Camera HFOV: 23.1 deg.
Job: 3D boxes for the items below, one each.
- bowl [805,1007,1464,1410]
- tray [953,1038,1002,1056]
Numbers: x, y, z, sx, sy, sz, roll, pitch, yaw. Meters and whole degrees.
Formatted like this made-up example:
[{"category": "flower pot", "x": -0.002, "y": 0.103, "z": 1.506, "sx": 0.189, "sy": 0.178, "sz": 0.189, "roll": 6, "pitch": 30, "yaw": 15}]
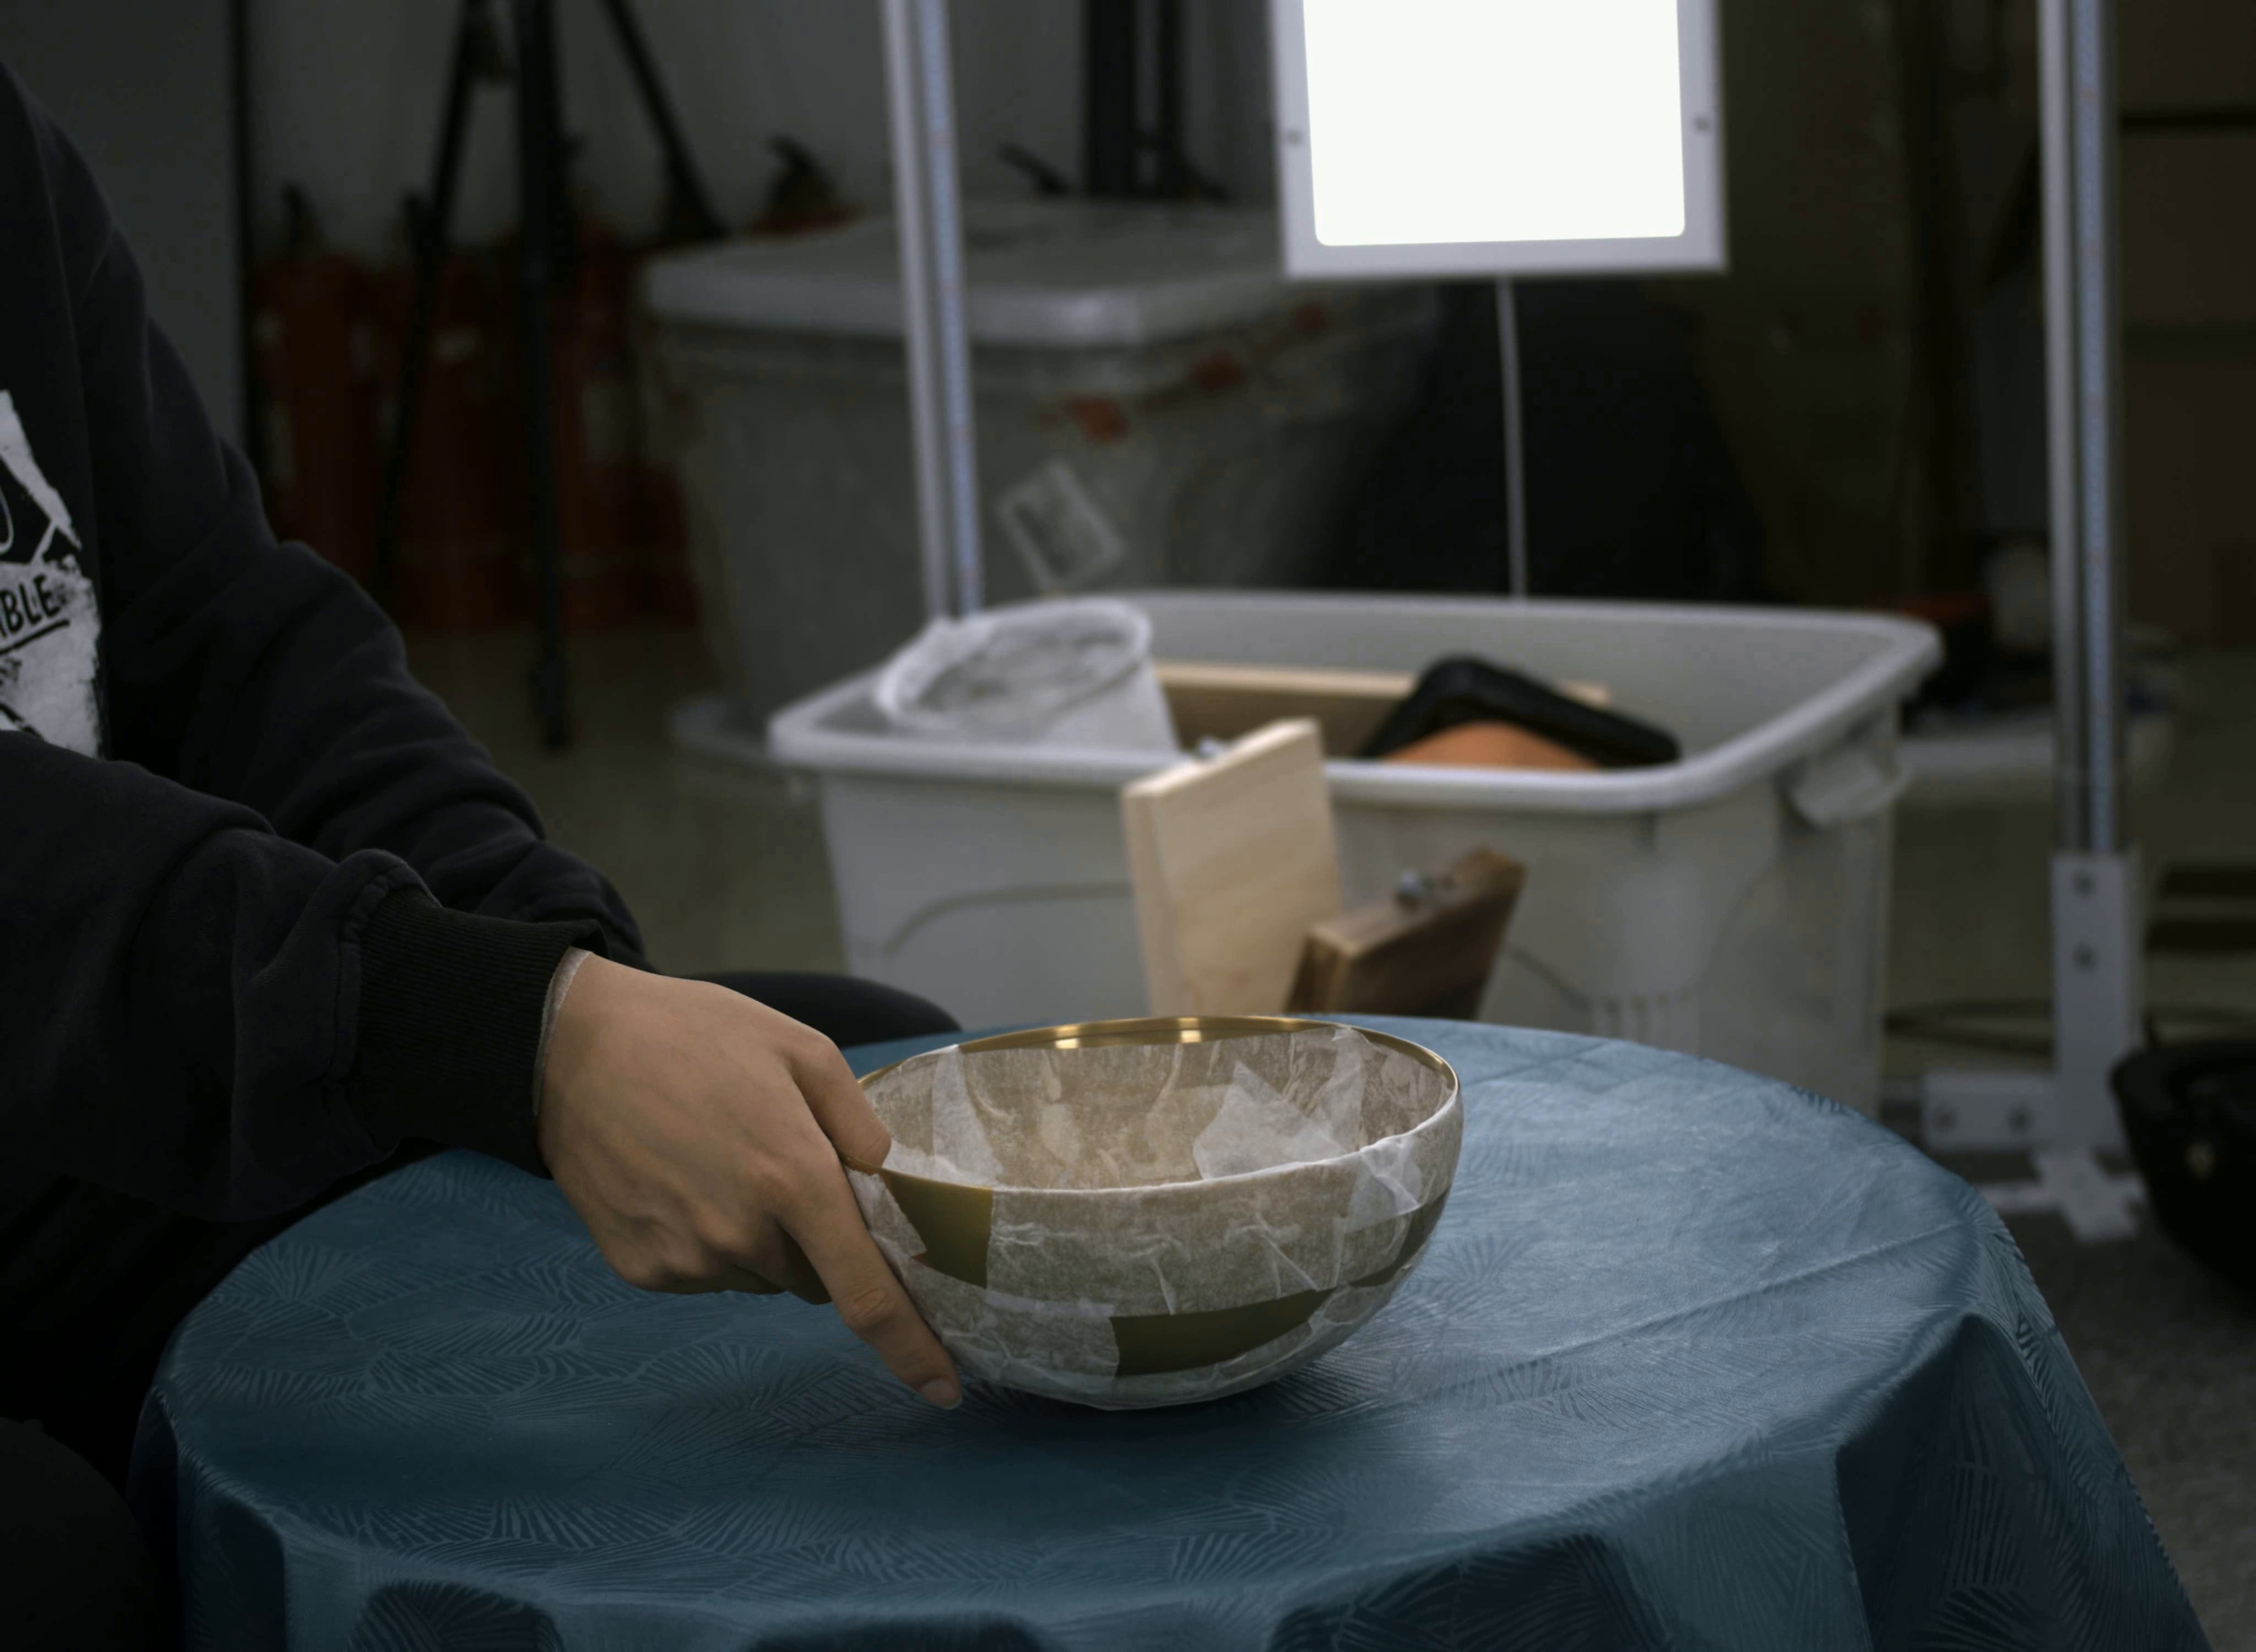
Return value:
[{"category": "bowl", "x": 0.006, "y": 0.125, "z": 1.706, "sx": 0.214, "sy": 0.095, "sz": 0.214, "roll": -5, "pitch": 13, "yaw": 0}, {"category": "tray", "x": -0.005, "y": 0.108, "z": 1.943, "sx": 0.100, "sy": 0.020, "sz": 0.233, "roll": -10, "pitch": 16, "yaw": -10}]
